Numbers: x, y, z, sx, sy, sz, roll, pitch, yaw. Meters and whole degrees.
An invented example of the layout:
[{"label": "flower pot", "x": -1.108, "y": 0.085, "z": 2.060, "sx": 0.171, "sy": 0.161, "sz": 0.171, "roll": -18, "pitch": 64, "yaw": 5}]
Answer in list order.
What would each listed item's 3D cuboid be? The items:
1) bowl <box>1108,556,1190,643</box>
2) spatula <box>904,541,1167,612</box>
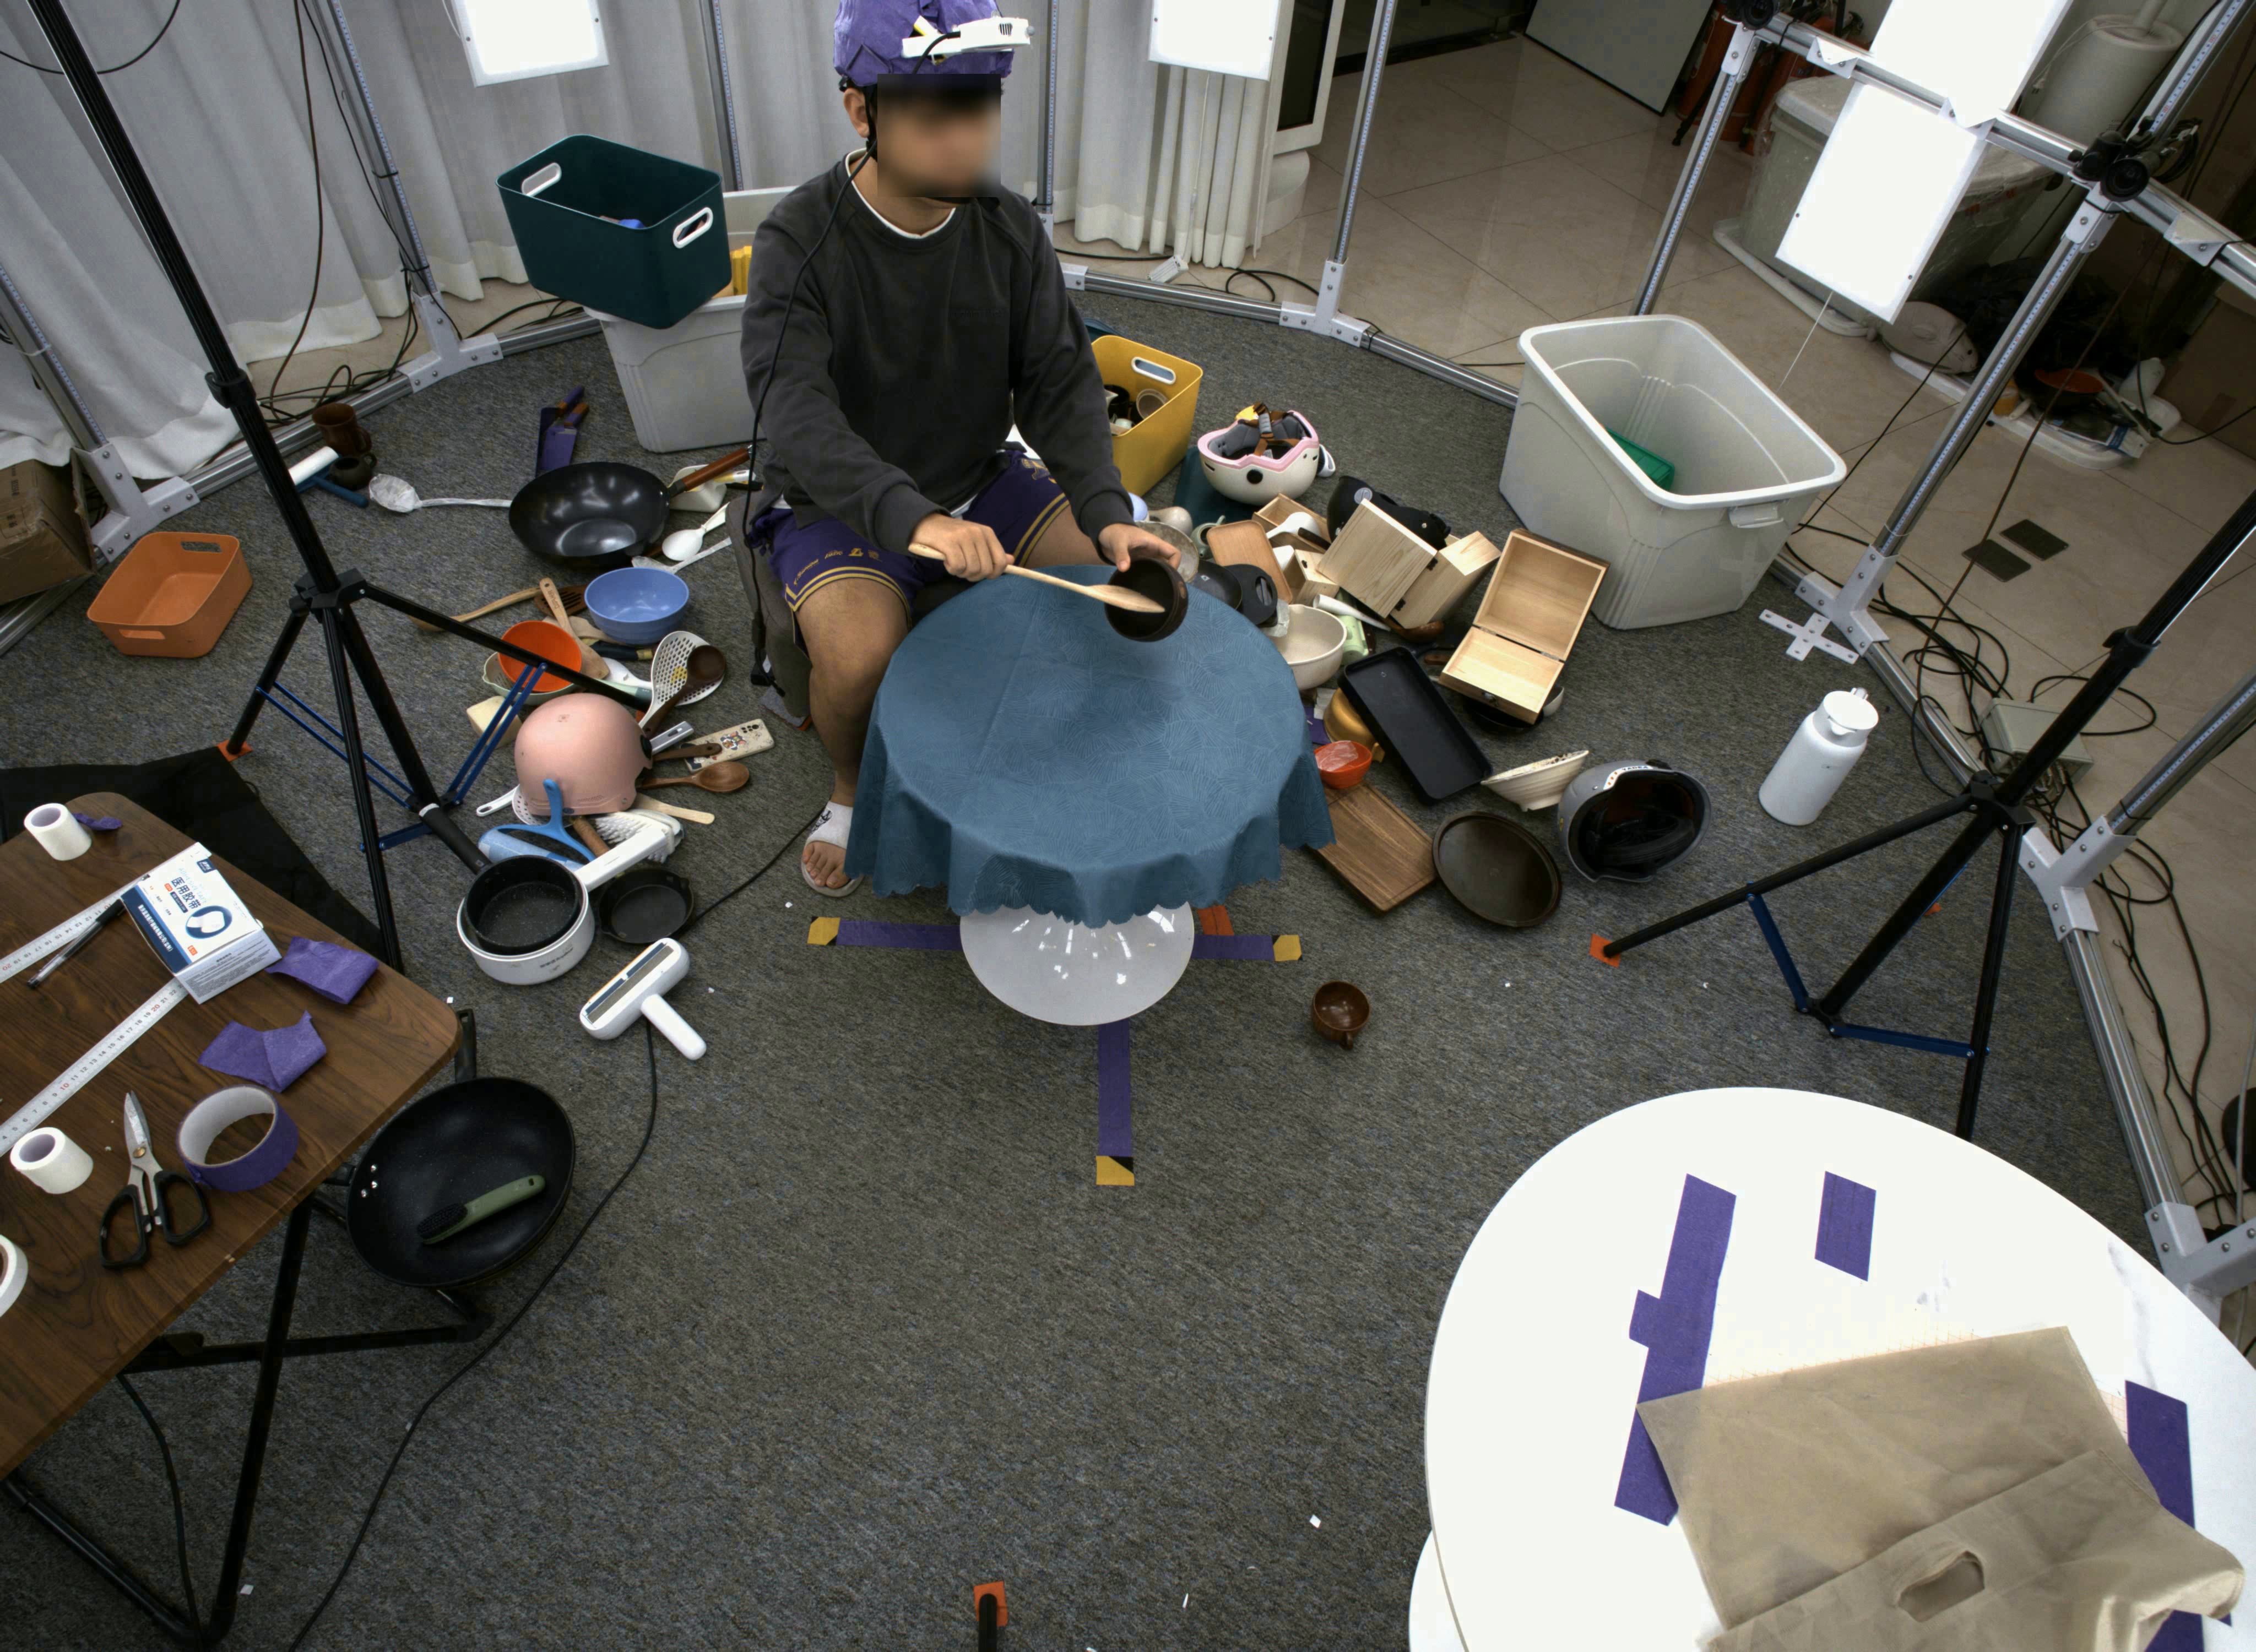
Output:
[{"label": "bowl", "x": 0.038, "y": -0.313, "z": 1.799, "sx": 0.069, "sy": 0.116, "sz": 0.120, "roll": 8, "pitch": 35, "yaw": -51}, {"label": "spatula", "x": -0.113, "y": -0.320, "z": 1.659, "sx": 0.387, "sy": 0.018, "sz": 0.097, "roll": 6, "pitch": 21, "yaw": -40}]
